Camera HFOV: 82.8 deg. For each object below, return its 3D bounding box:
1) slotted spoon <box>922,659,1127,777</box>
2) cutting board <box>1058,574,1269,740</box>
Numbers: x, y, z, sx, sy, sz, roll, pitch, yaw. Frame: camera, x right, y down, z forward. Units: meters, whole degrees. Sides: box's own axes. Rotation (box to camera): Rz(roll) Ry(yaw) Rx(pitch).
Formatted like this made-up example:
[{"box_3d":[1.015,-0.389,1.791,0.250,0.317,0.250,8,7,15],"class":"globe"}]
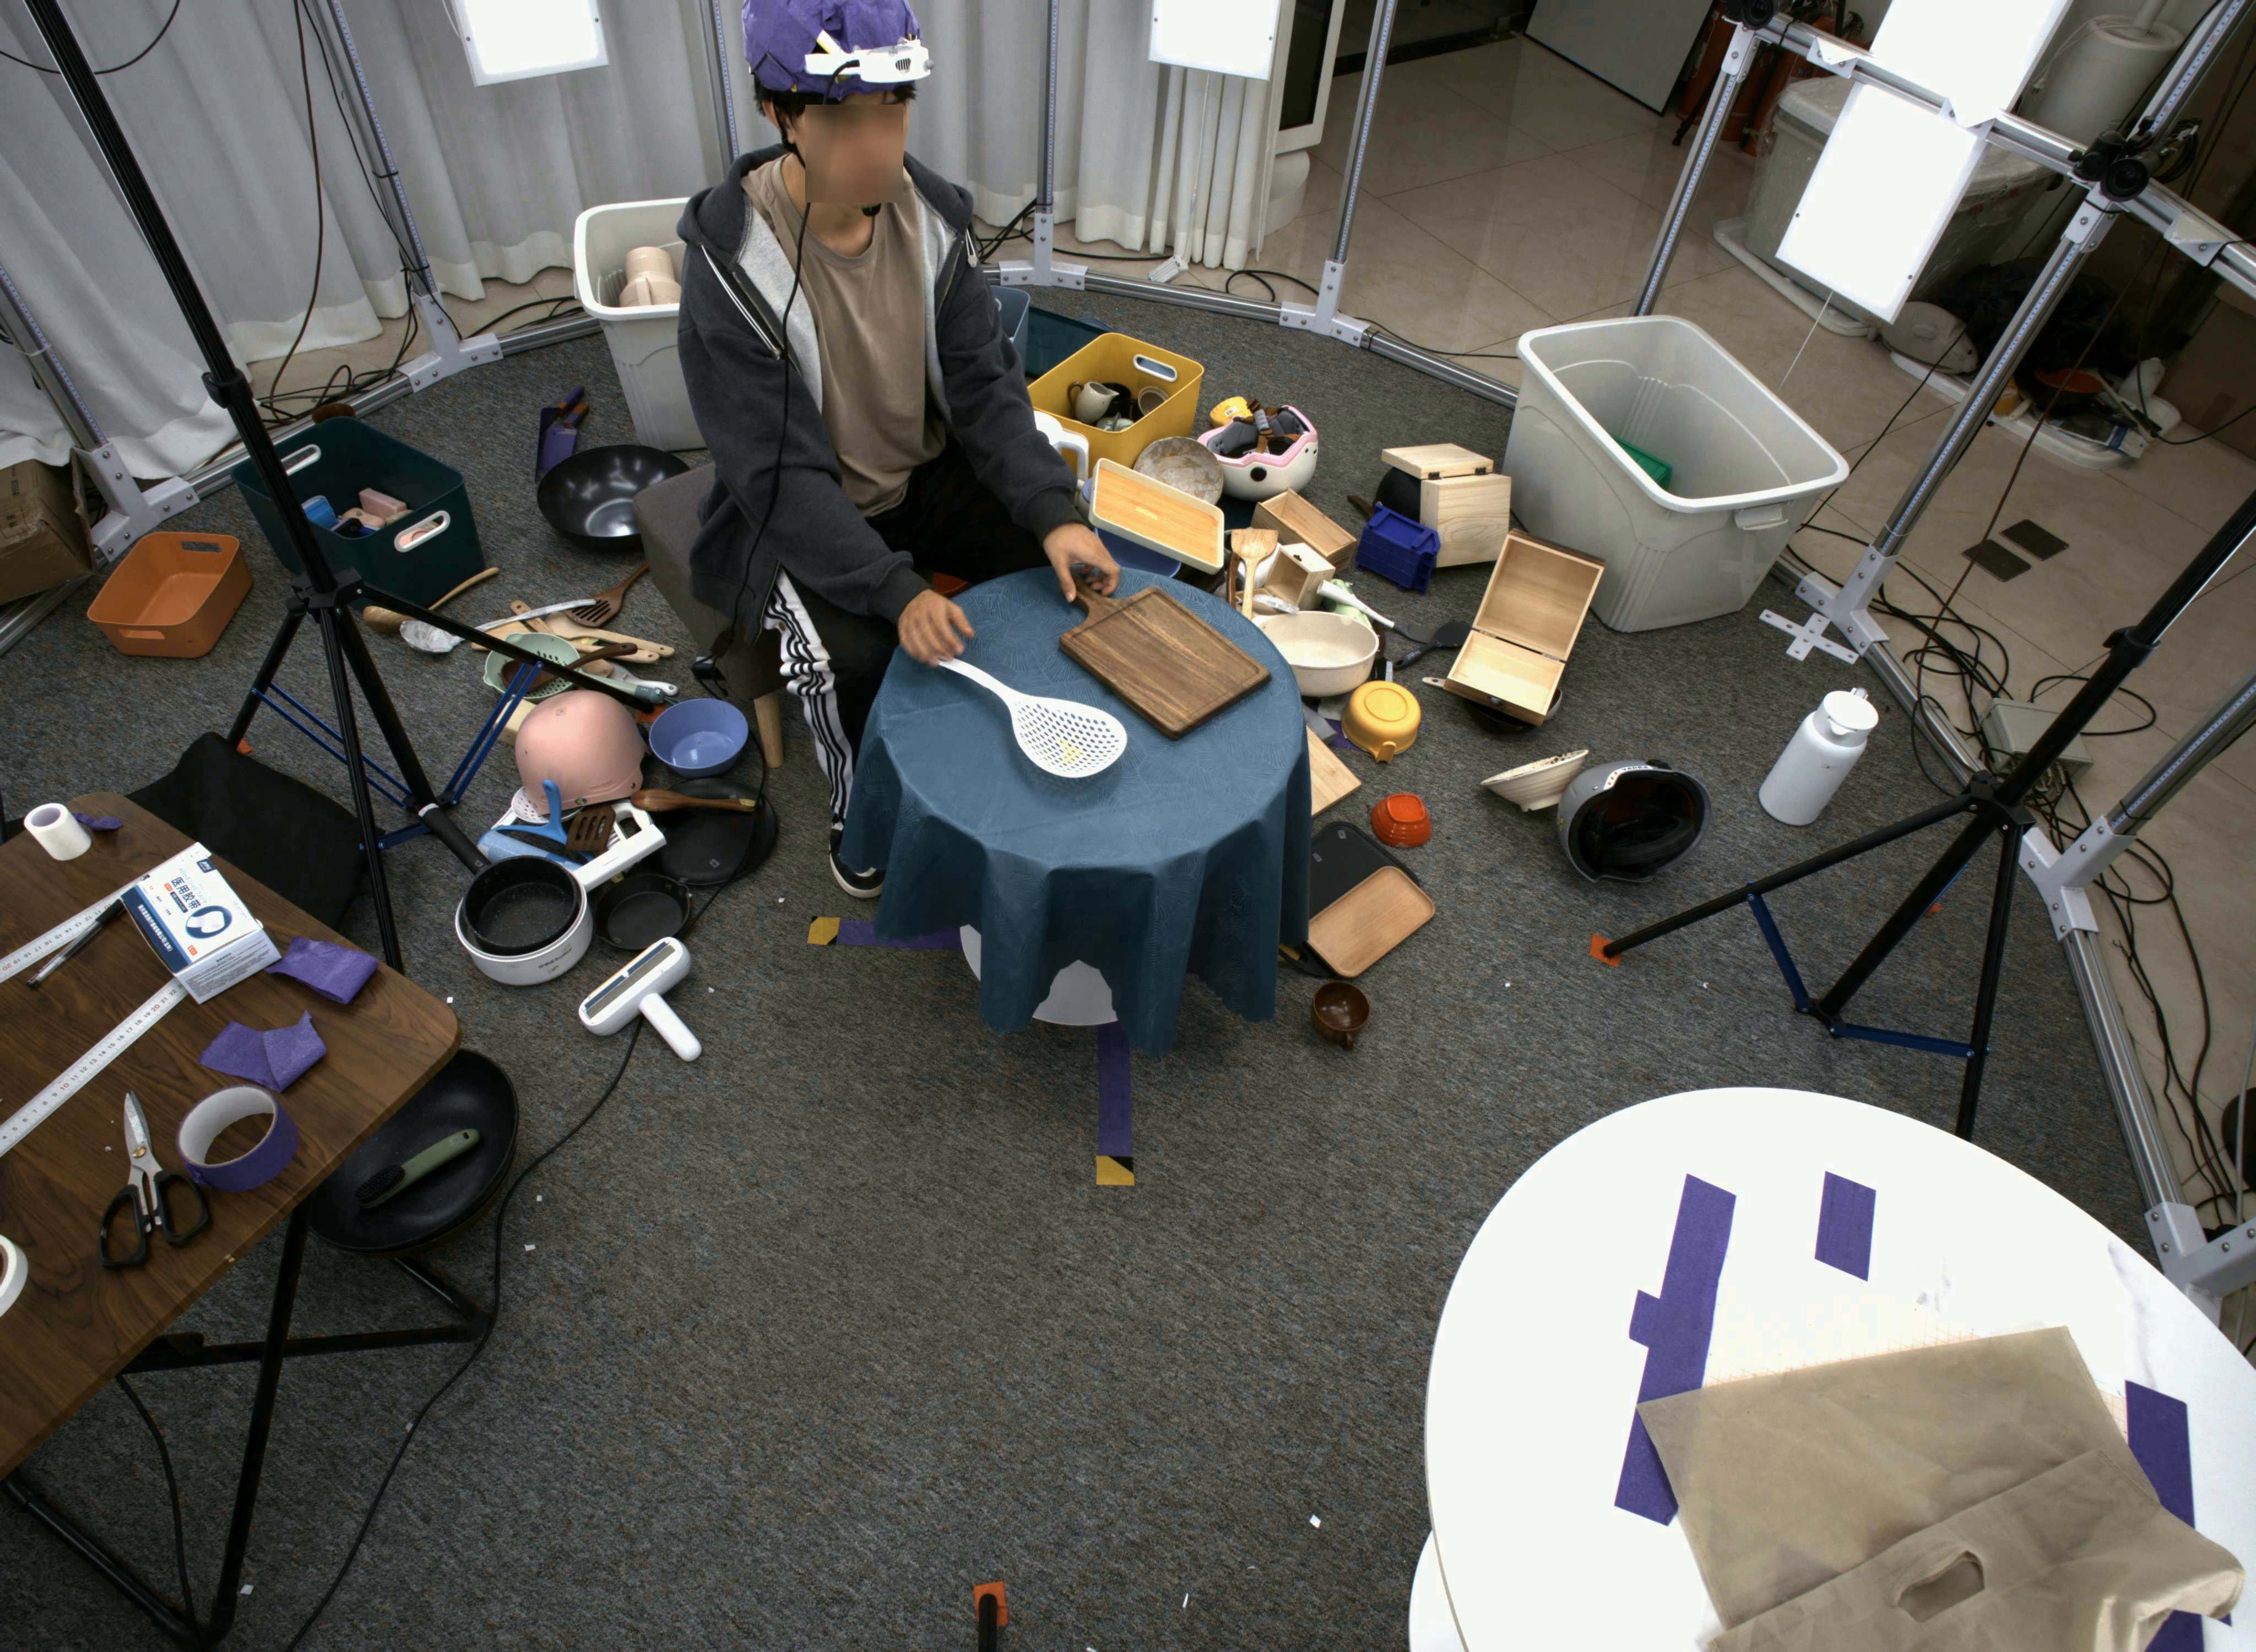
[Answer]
[{"box_3d":[-0.154,-0.164,1.771,0.352,0.049,0.138,35,58,24],"class":"slotted spoon"},{"box_3d":[0.019,-0.273,1.892,0.202,0.022,0.358,-32,58,-28],"class":"cutting board"}]
